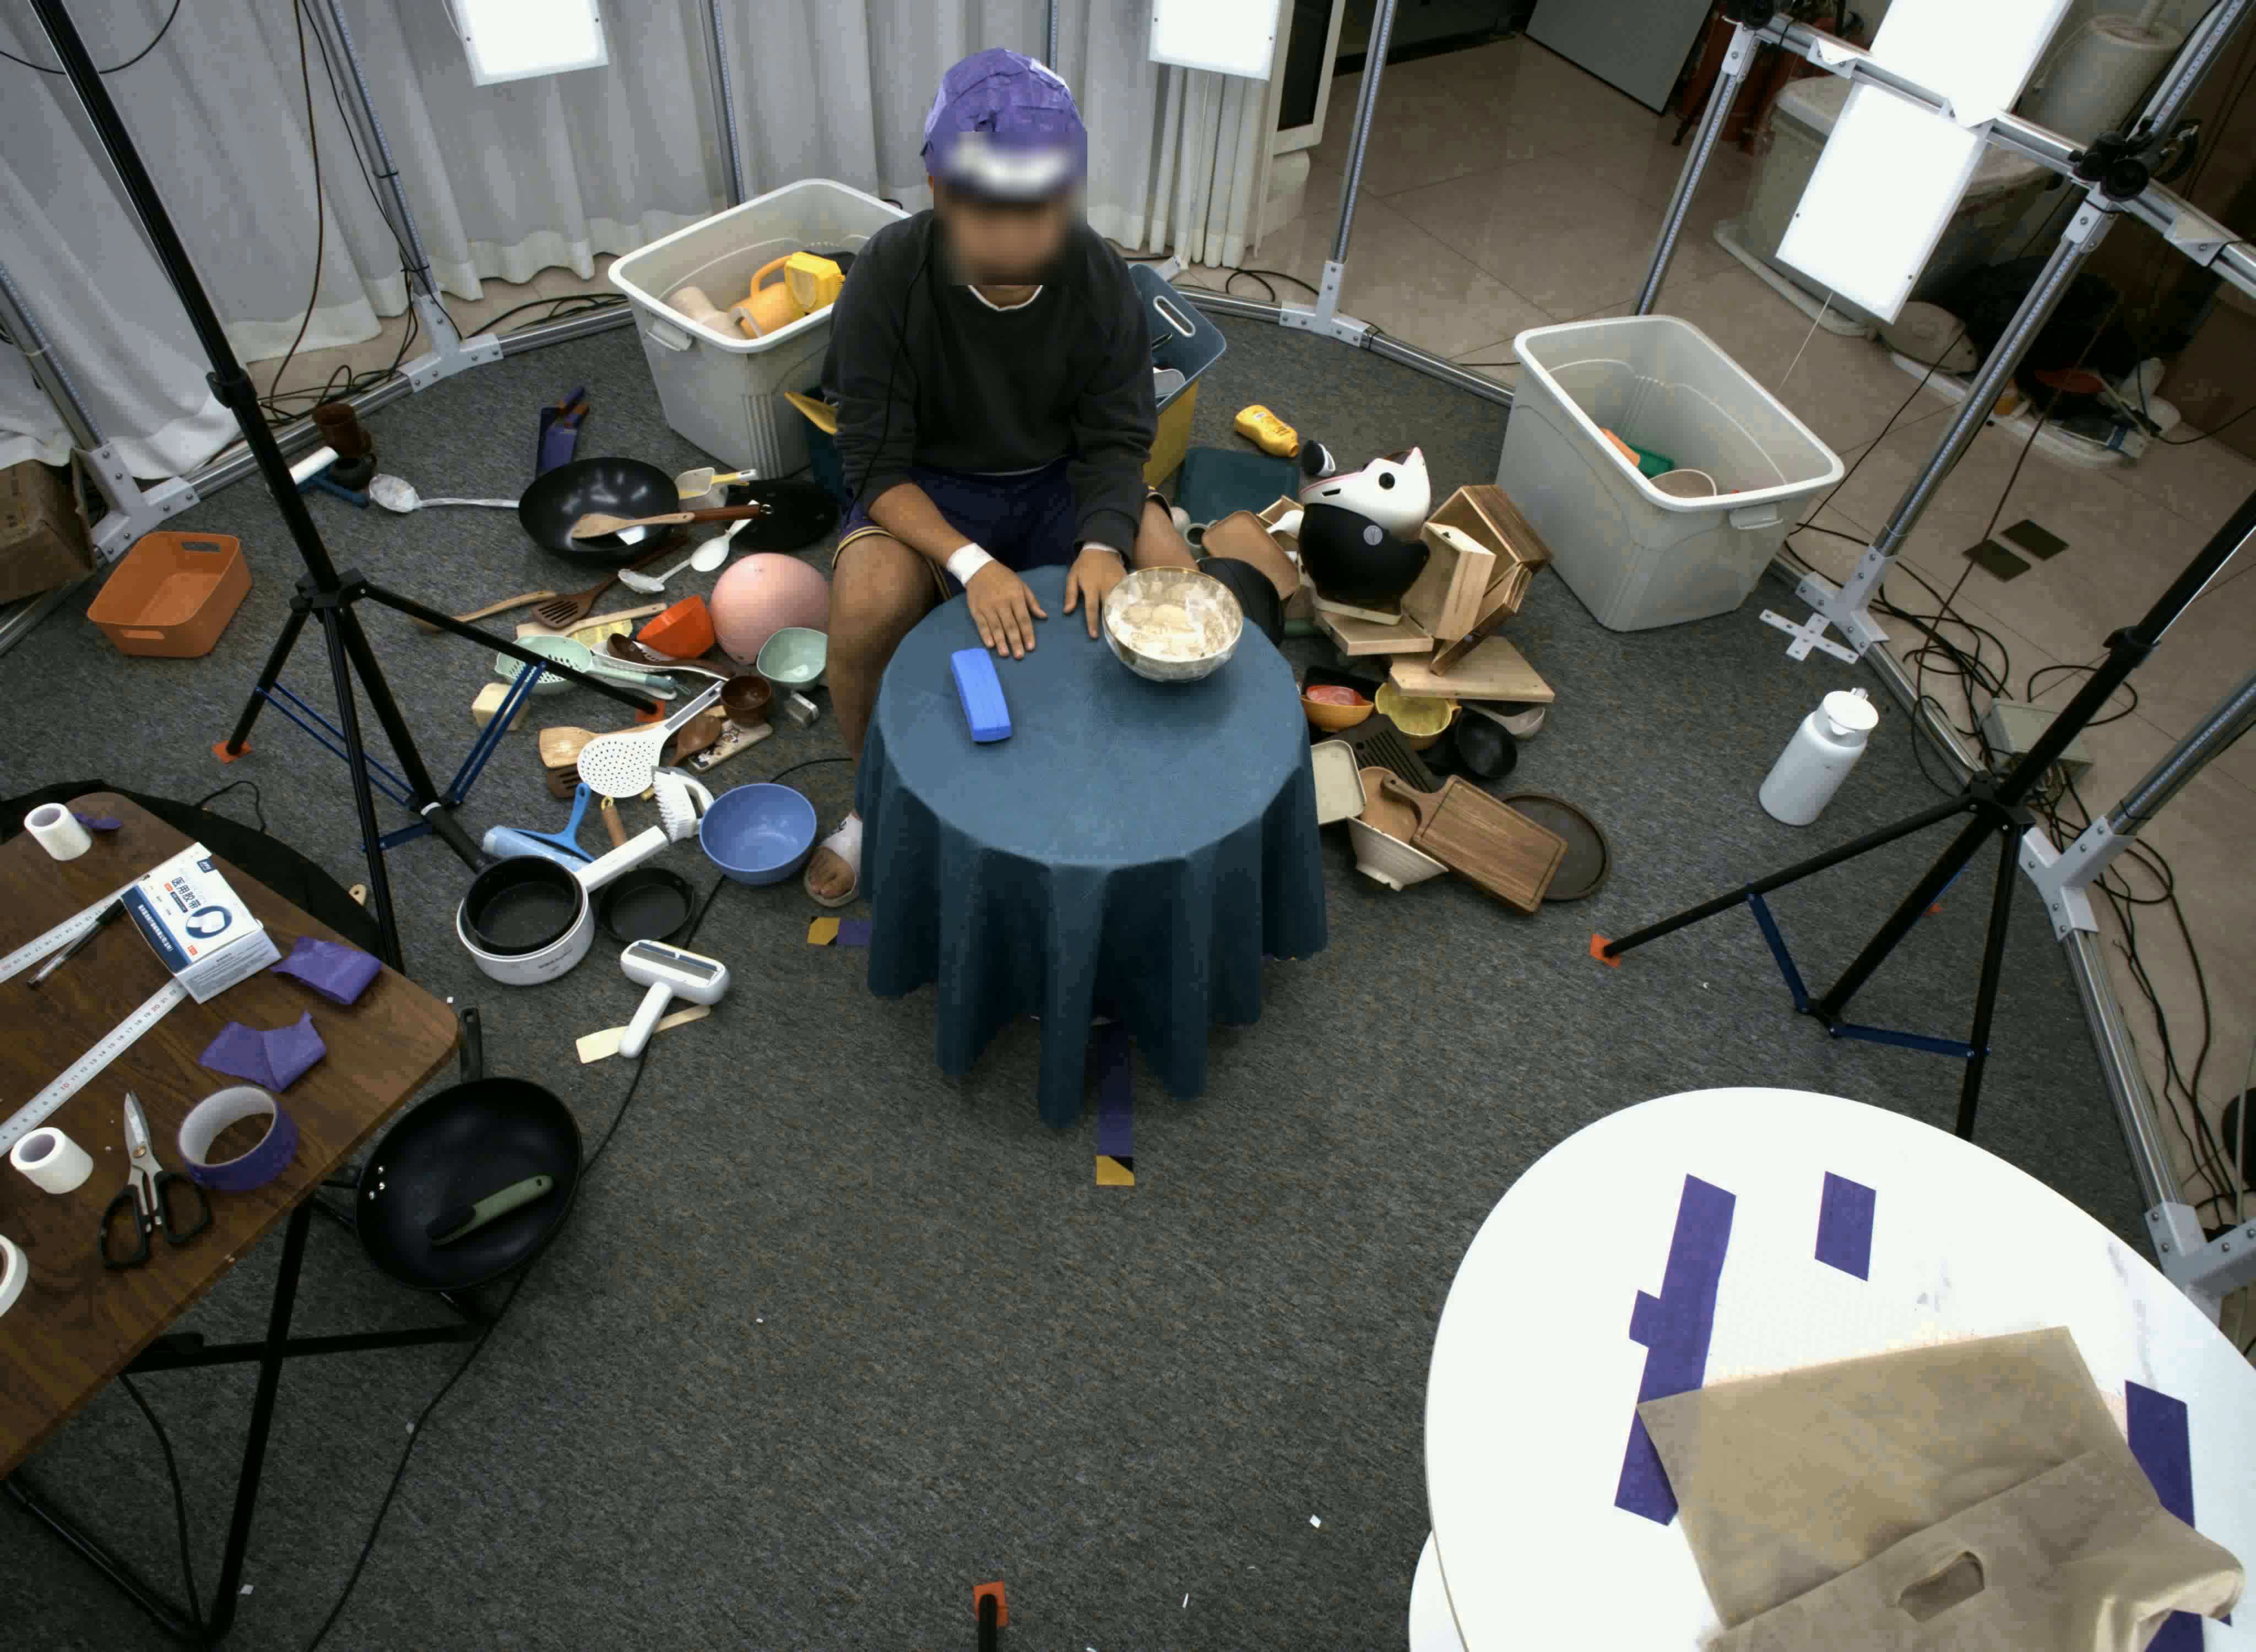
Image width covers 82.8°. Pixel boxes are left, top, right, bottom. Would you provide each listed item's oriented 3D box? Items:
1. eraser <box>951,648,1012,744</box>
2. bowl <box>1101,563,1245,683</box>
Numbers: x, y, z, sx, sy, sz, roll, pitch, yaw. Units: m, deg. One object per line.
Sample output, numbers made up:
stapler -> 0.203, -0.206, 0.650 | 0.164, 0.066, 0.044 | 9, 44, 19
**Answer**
eraser -> -0.204, -0.186, 1.785 | 0.054, 0.046, 0.166 | -12, 51, -12
bowl -> 0.062, -0.278, 1.852 | 0.214, 0.092, 0.220 | 1, 49, -2
